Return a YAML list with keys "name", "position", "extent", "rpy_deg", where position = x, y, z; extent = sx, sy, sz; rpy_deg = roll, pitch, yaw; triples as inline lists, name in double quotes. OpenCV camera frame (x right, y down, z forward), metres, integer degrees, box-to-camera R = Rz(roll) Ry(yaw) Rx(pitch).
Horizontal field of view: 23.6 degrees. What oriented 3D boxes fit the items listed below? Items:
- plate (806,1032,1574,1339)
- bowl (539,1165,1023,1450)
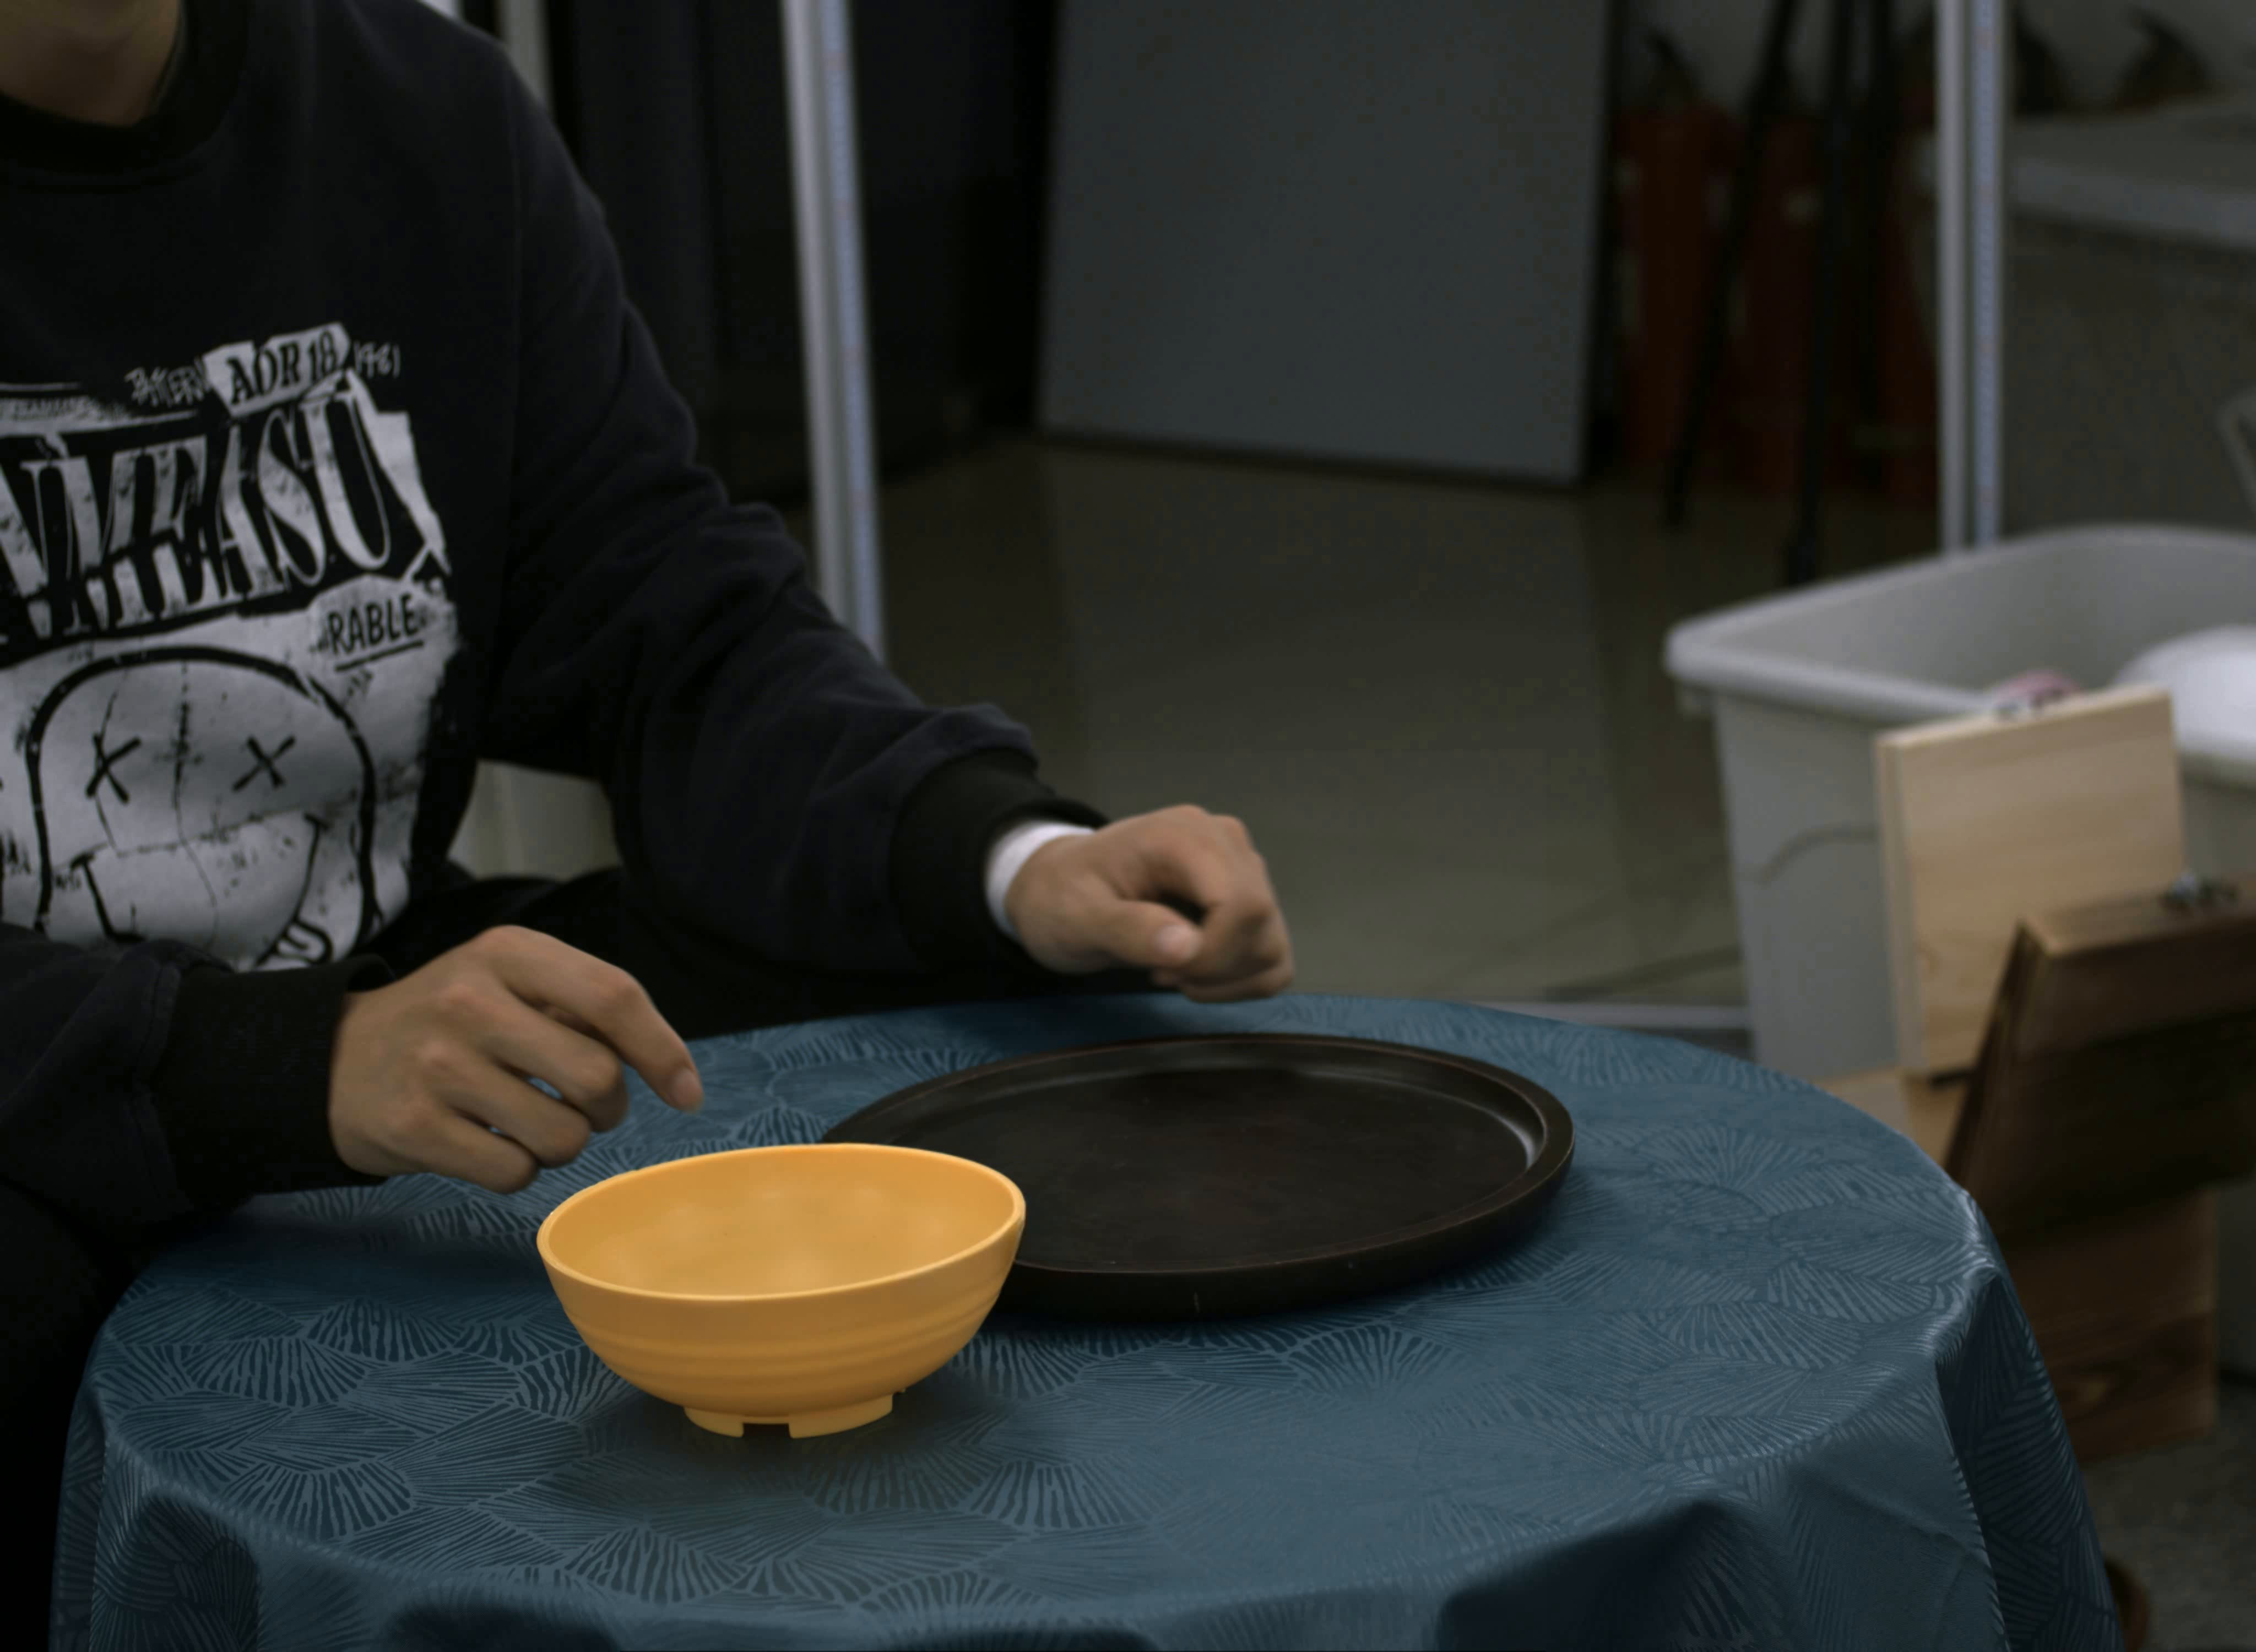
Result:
- name: "plate"
  position: [0.021, 0.114, 1.749]
  extent: [0.251, 0.029, 0.255]
  rpy_deg: [-6, 15, 1]
- name: "bowl"
  position: [-0.100, 0.145, 1.589]
  extent: [0.143, 0.061, 0.145]
  rpy_deg: [-4, 11, 0]
